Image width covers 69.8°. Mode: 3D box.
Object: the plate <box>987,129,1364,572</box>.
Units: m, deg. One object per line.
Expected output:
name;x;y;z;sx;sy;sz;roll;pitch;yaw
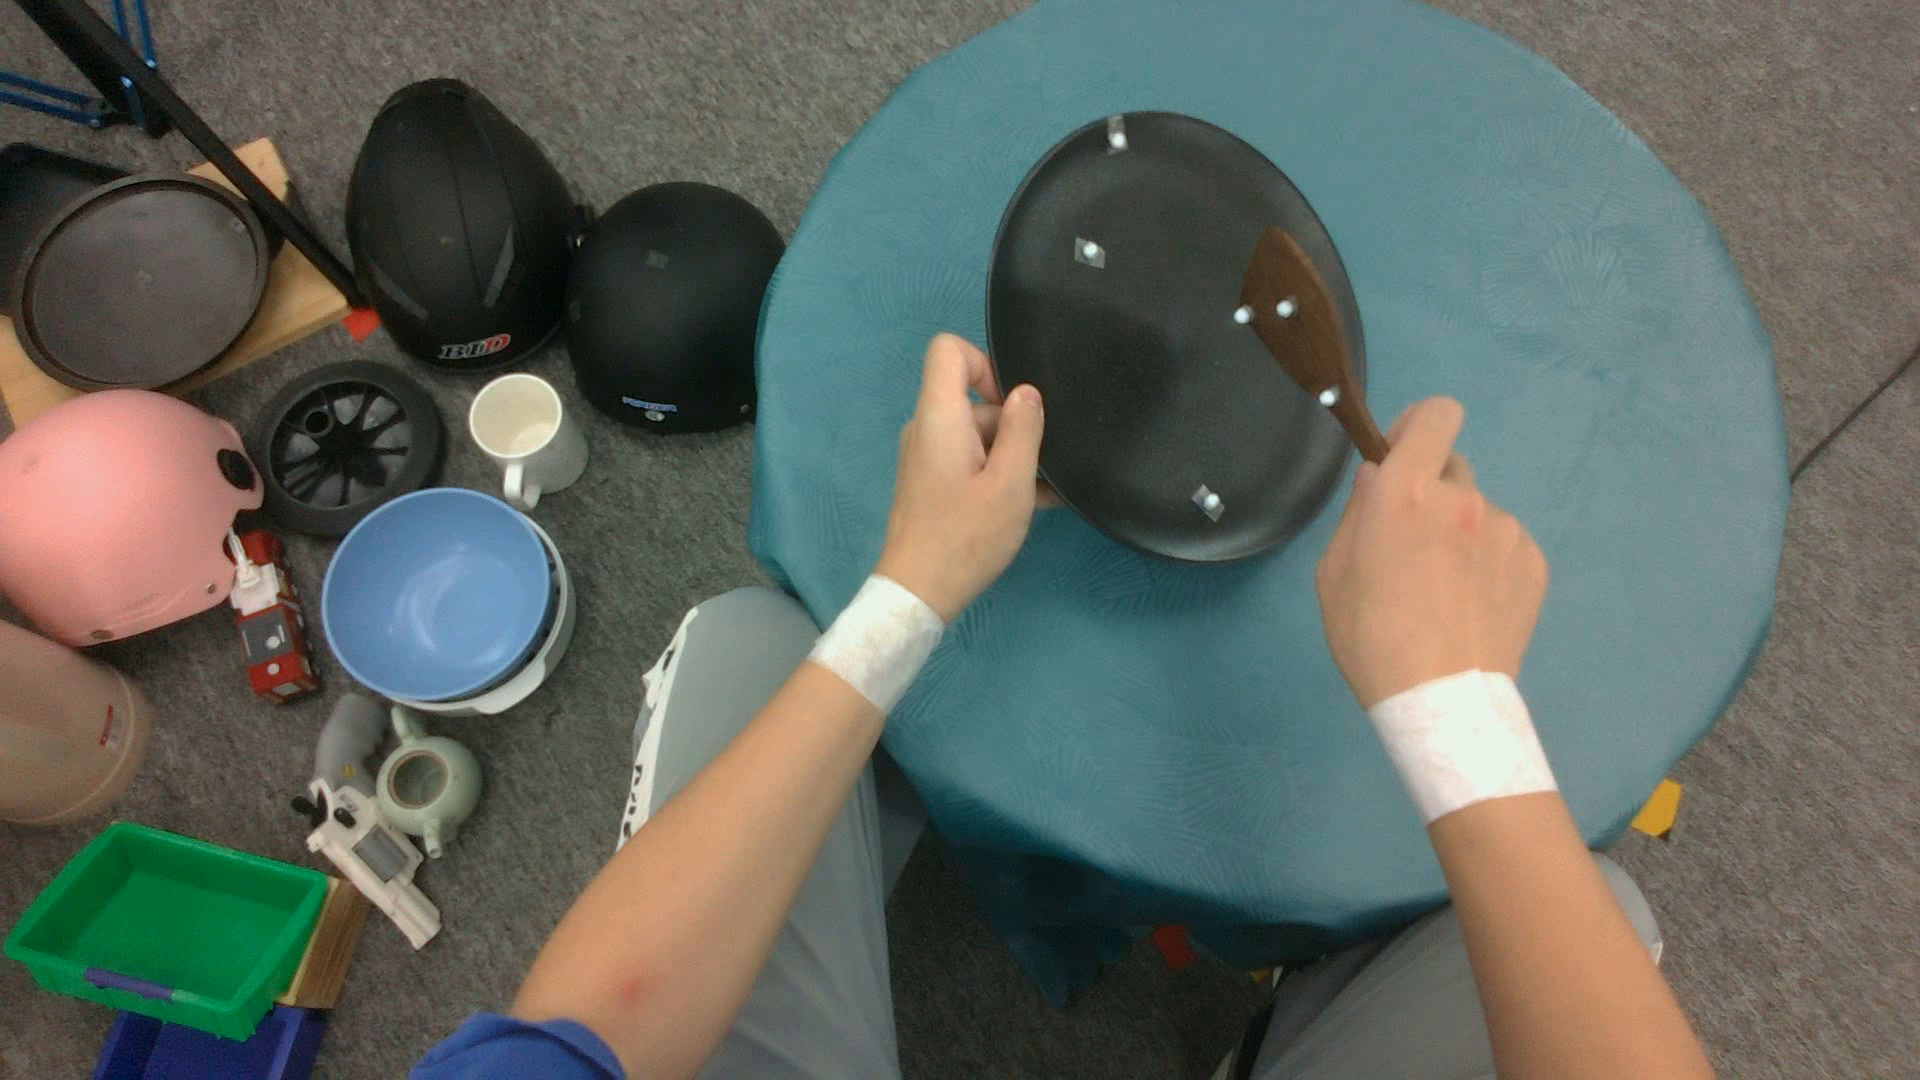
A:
plate;0.119;-0.103;0.748;0.245;0.023;0.244;4;80;-26

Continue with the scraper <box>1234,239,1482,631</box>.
scraper;0.193;-0.050;0.669;0.011;0.075;0.211;-21;69;-12
